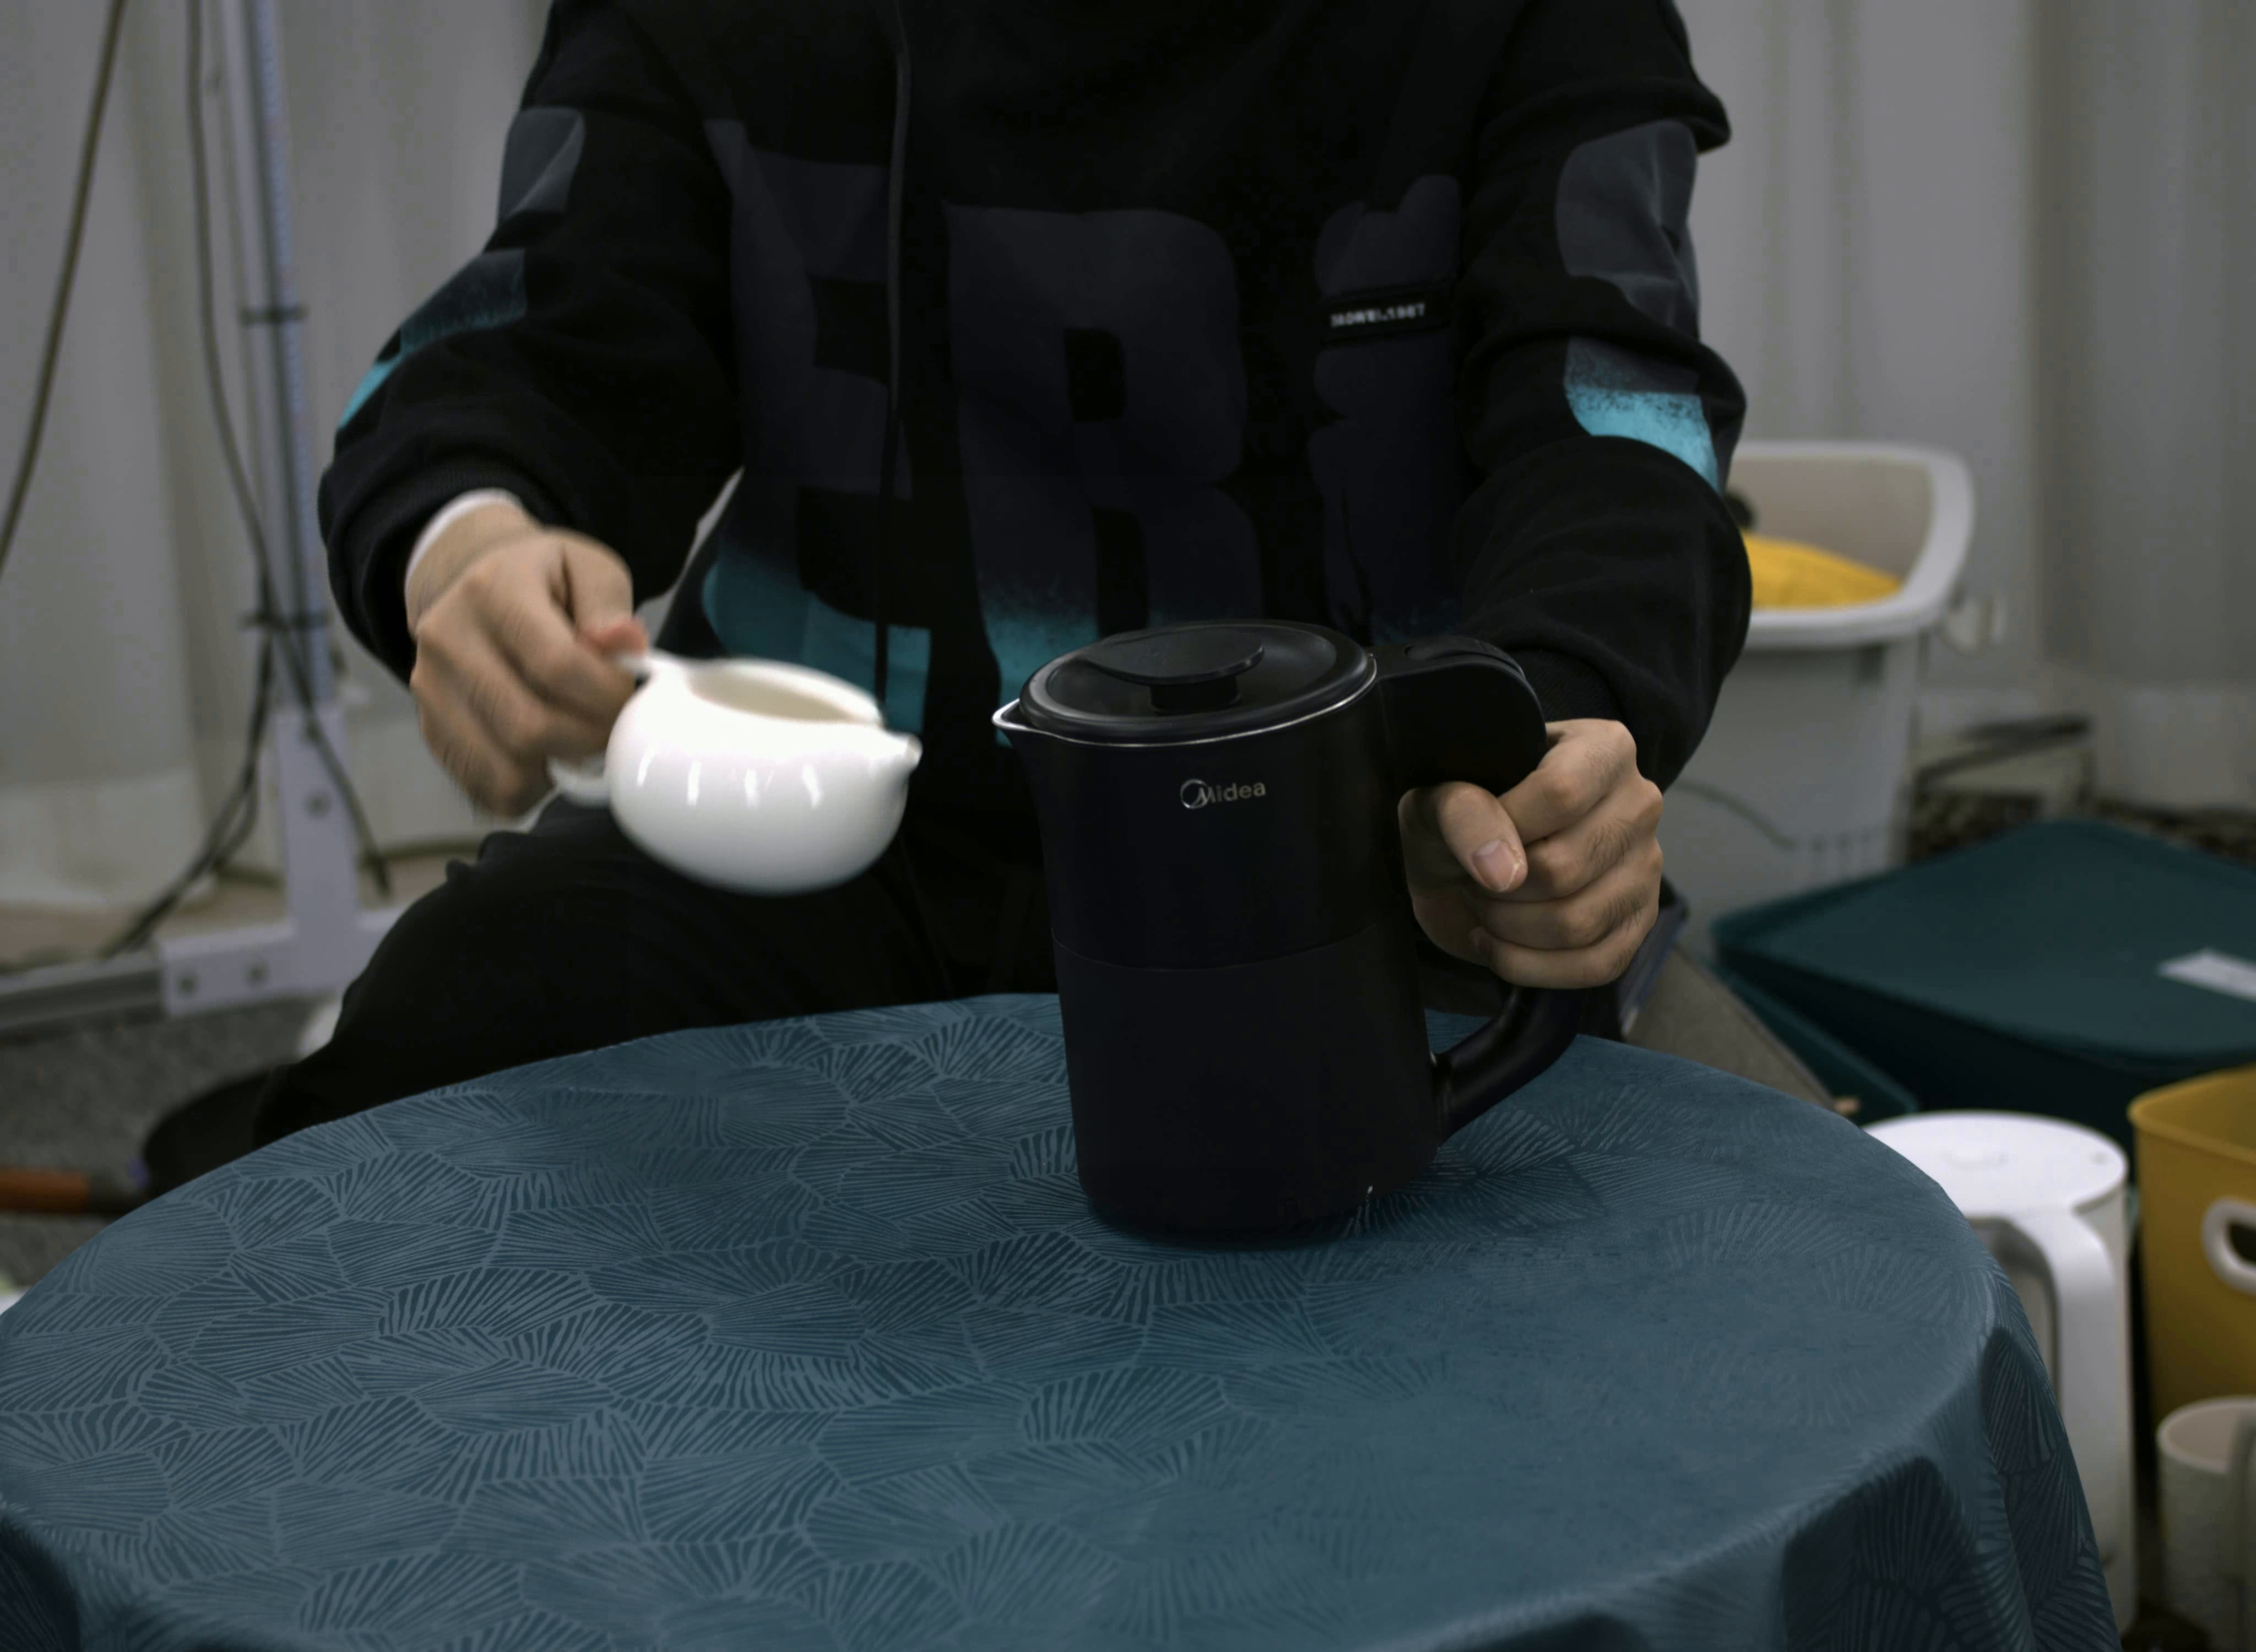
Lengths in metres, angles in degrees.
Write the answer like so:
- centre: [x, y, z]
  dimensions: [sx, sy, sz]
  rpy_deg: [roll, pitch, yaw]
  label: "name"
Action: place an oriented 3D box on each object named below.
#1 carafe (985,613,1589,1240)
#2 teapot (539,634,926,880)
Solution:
- centre: [0.052, 0.020, 1.680]
  dimensions: [0.171, 0.172, 0.115]
  rpy_deg: [-12, 16, -7]
  label: "carafe"
- centre: [-0.123, -0.022, 1.678]
  dimensions: [0.127, 0.056, 0.094]
  rpy_deg: [16, 20, 14]
  label: "teapot"
